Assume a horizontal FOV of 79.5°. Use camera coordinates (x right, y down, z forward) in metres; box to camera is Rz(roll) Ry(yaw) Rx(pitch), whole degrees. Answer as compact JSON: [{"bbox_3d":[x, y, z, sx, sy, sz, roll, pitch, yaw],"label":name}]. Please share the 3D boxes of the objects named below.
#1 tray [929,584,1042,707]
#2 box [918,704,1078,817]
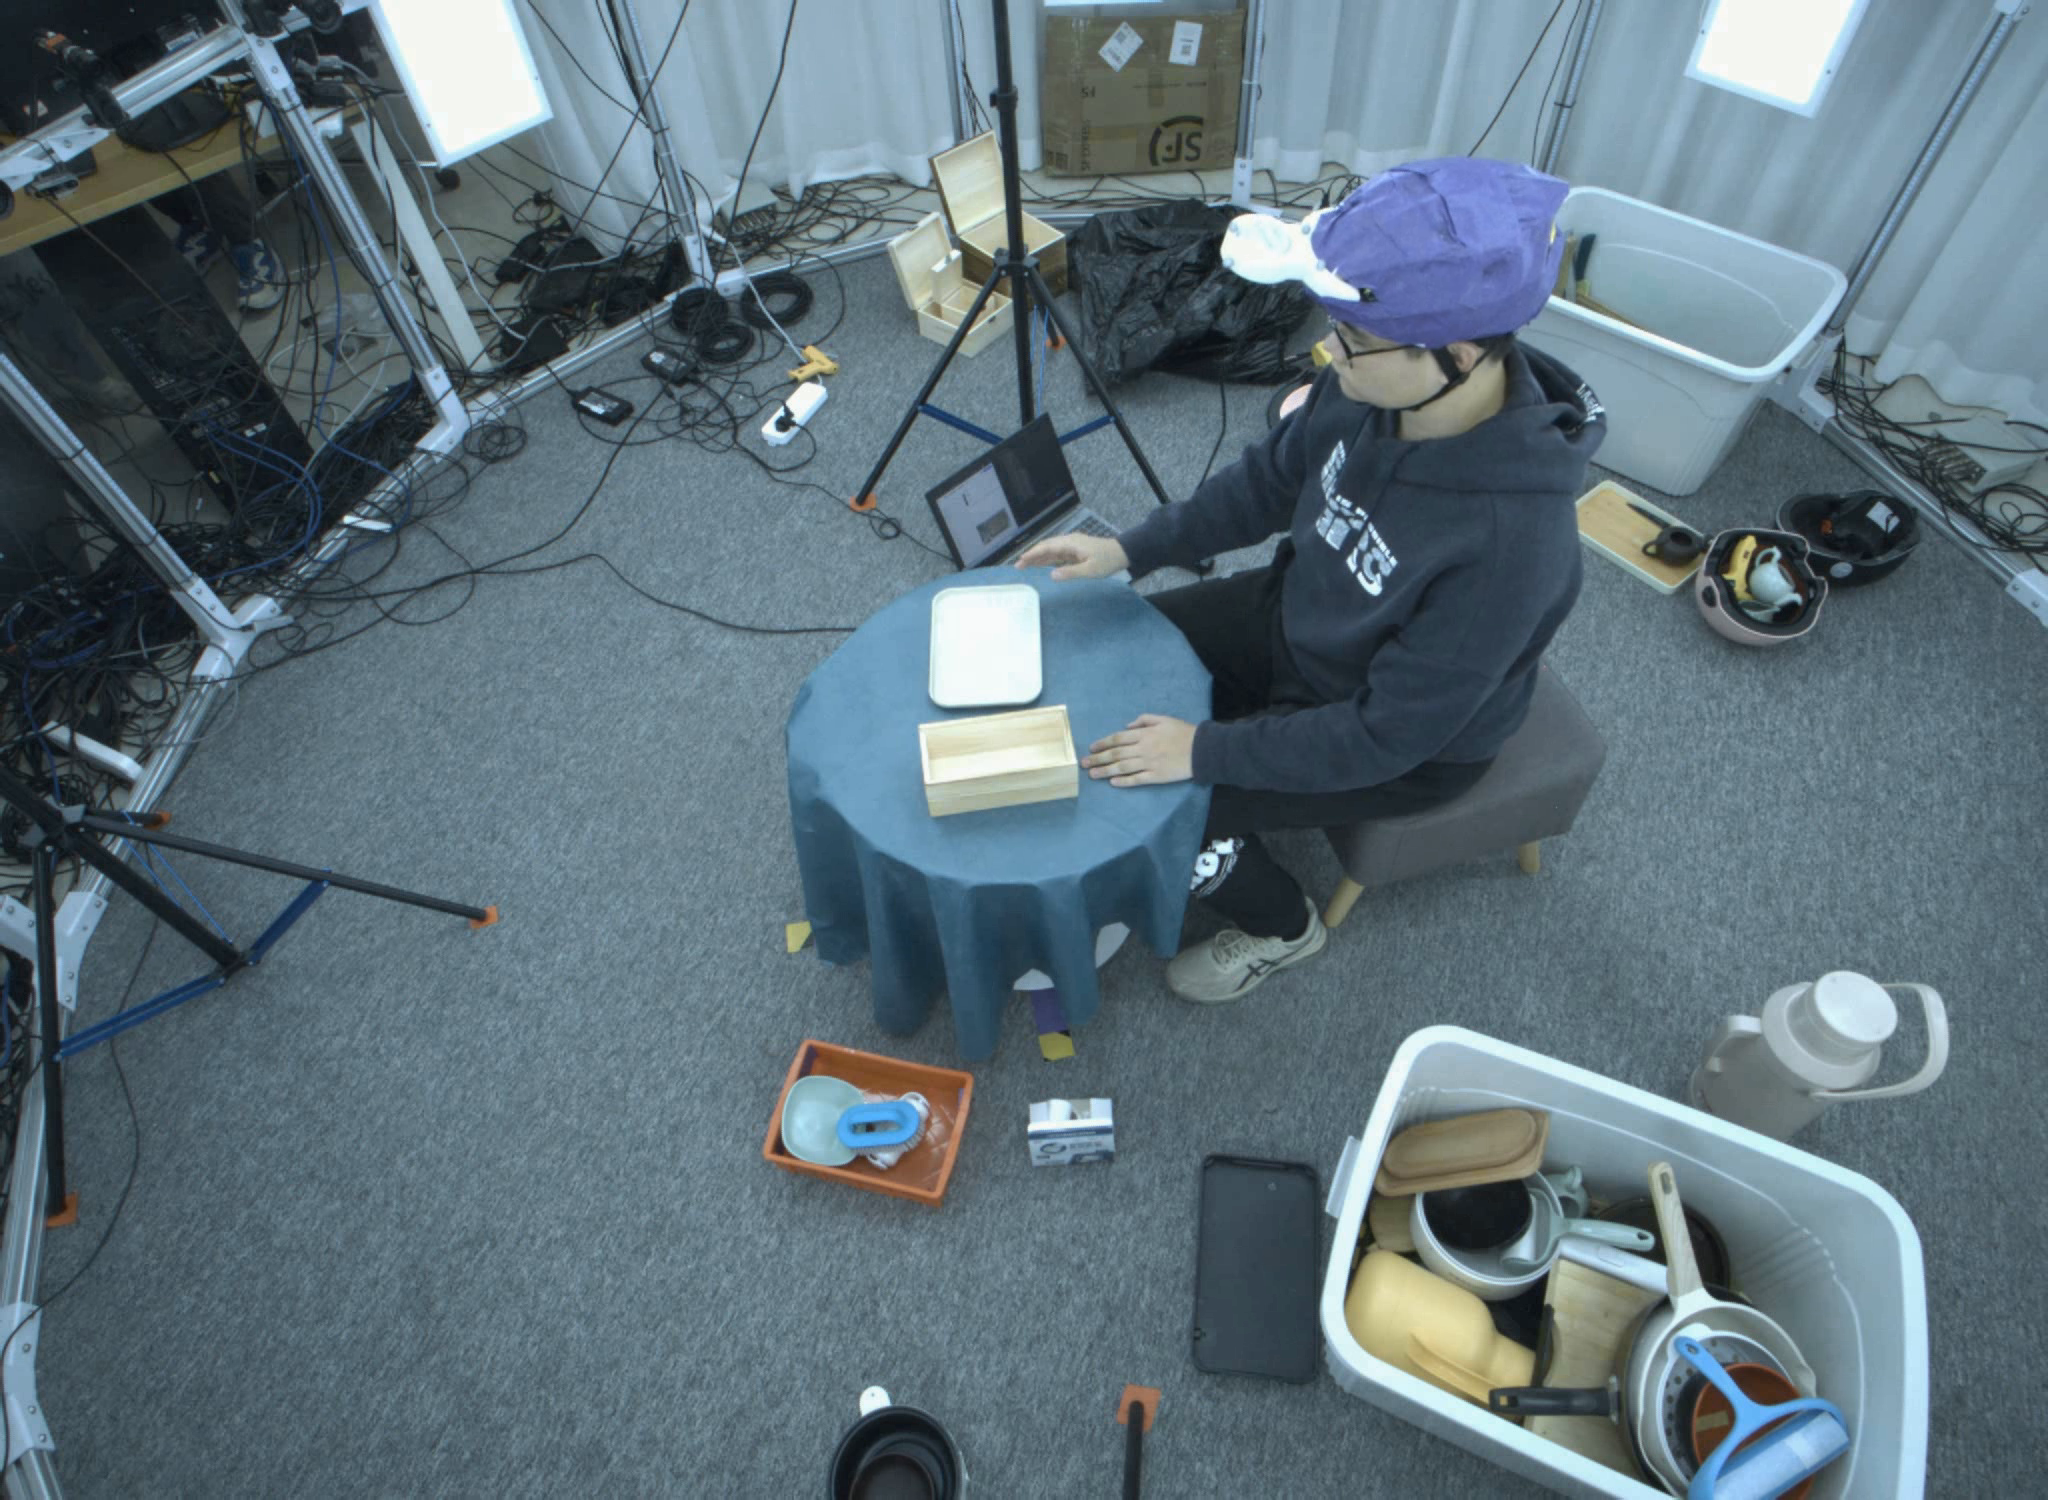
[{"bbox_3d":[-0.060,-0.162,1.893,0.171,0.017,0.237,-2,55,-1],"label":"tray"},{"bbox_3d":[-0.036,0.015,1.729,0.212,0.081,0.106,-8,55,-4],"label":"box"}]
